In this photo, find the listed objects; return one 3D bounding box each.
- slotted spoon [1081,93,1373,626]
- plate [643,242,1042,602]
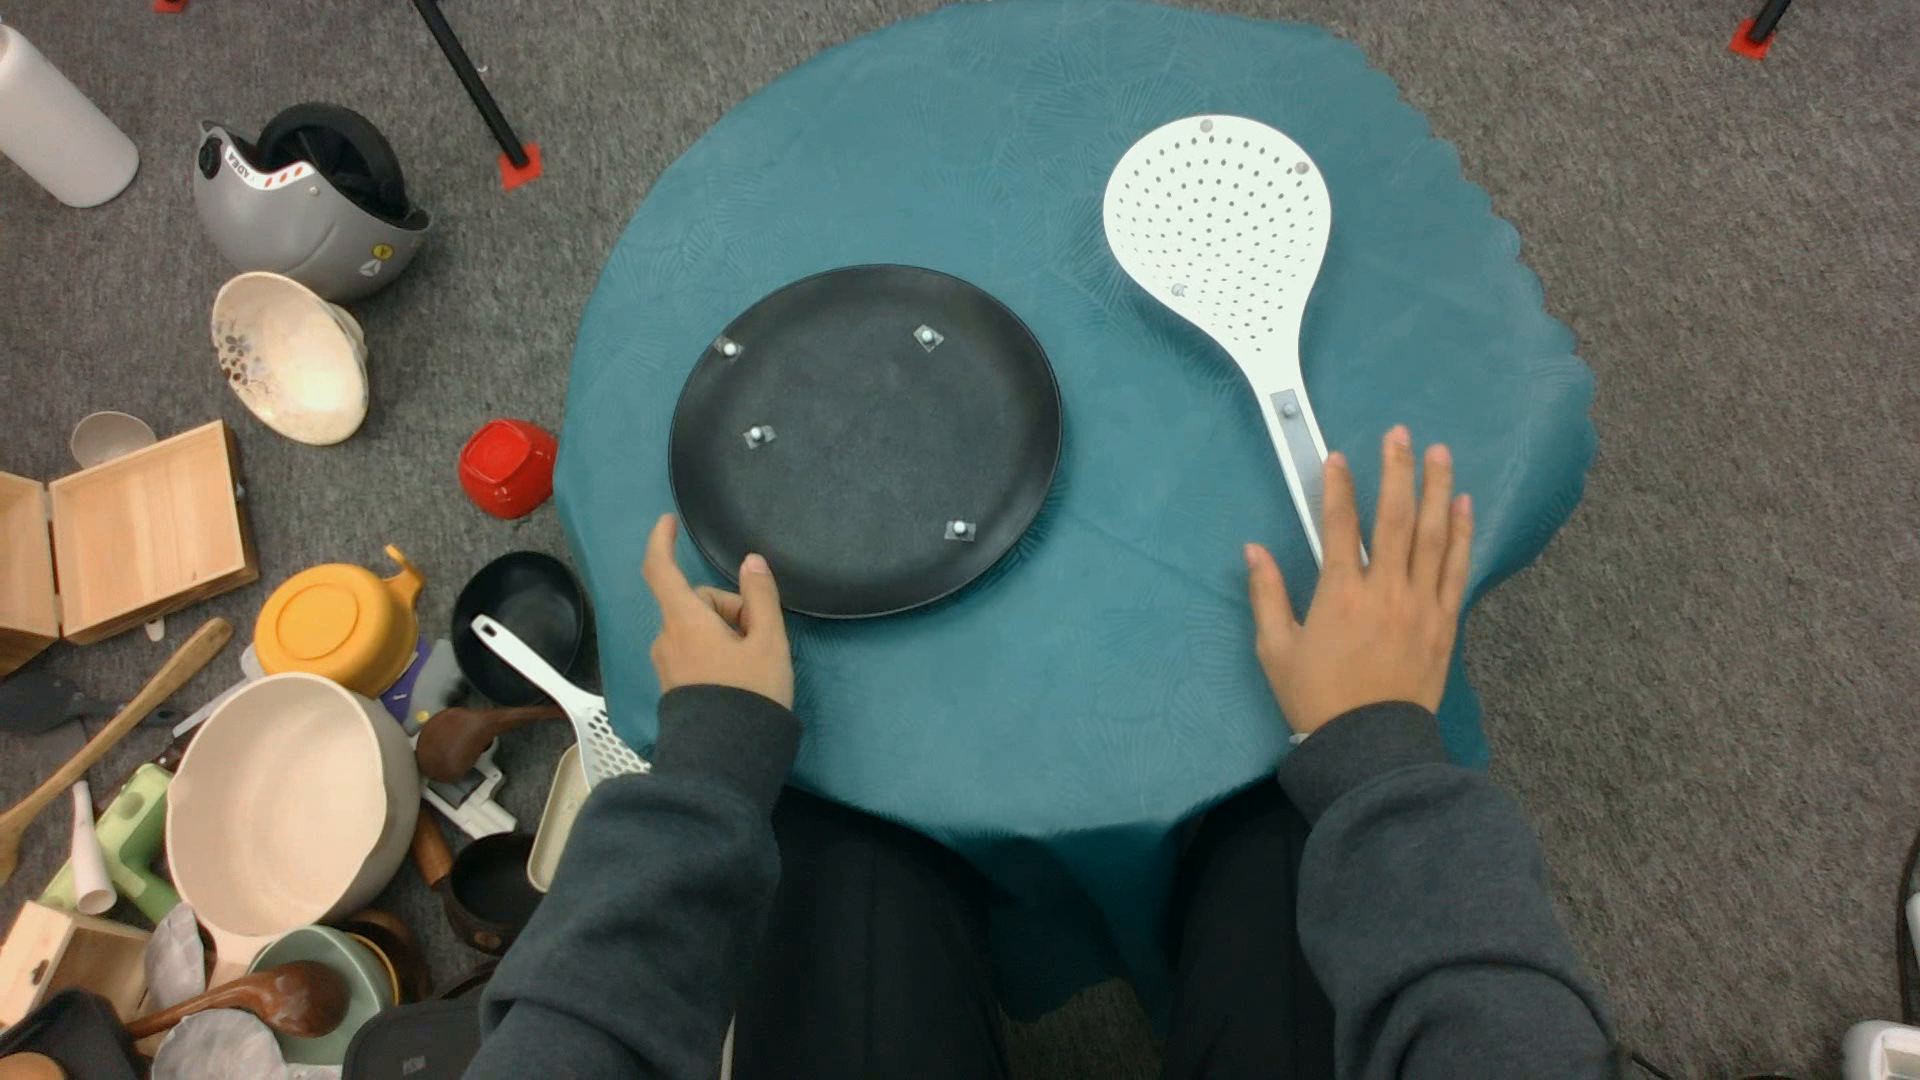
[{"bbox_3d":[0.172,-0.115,0.815,0.136,0.045,0.350,-16,67,-1],"label":"slotted spoon"},{"bbox_3d":[-0.071,-0.075,0.836,0.244,0.023,0.245,-2,67,5],"label":"plate"}]
